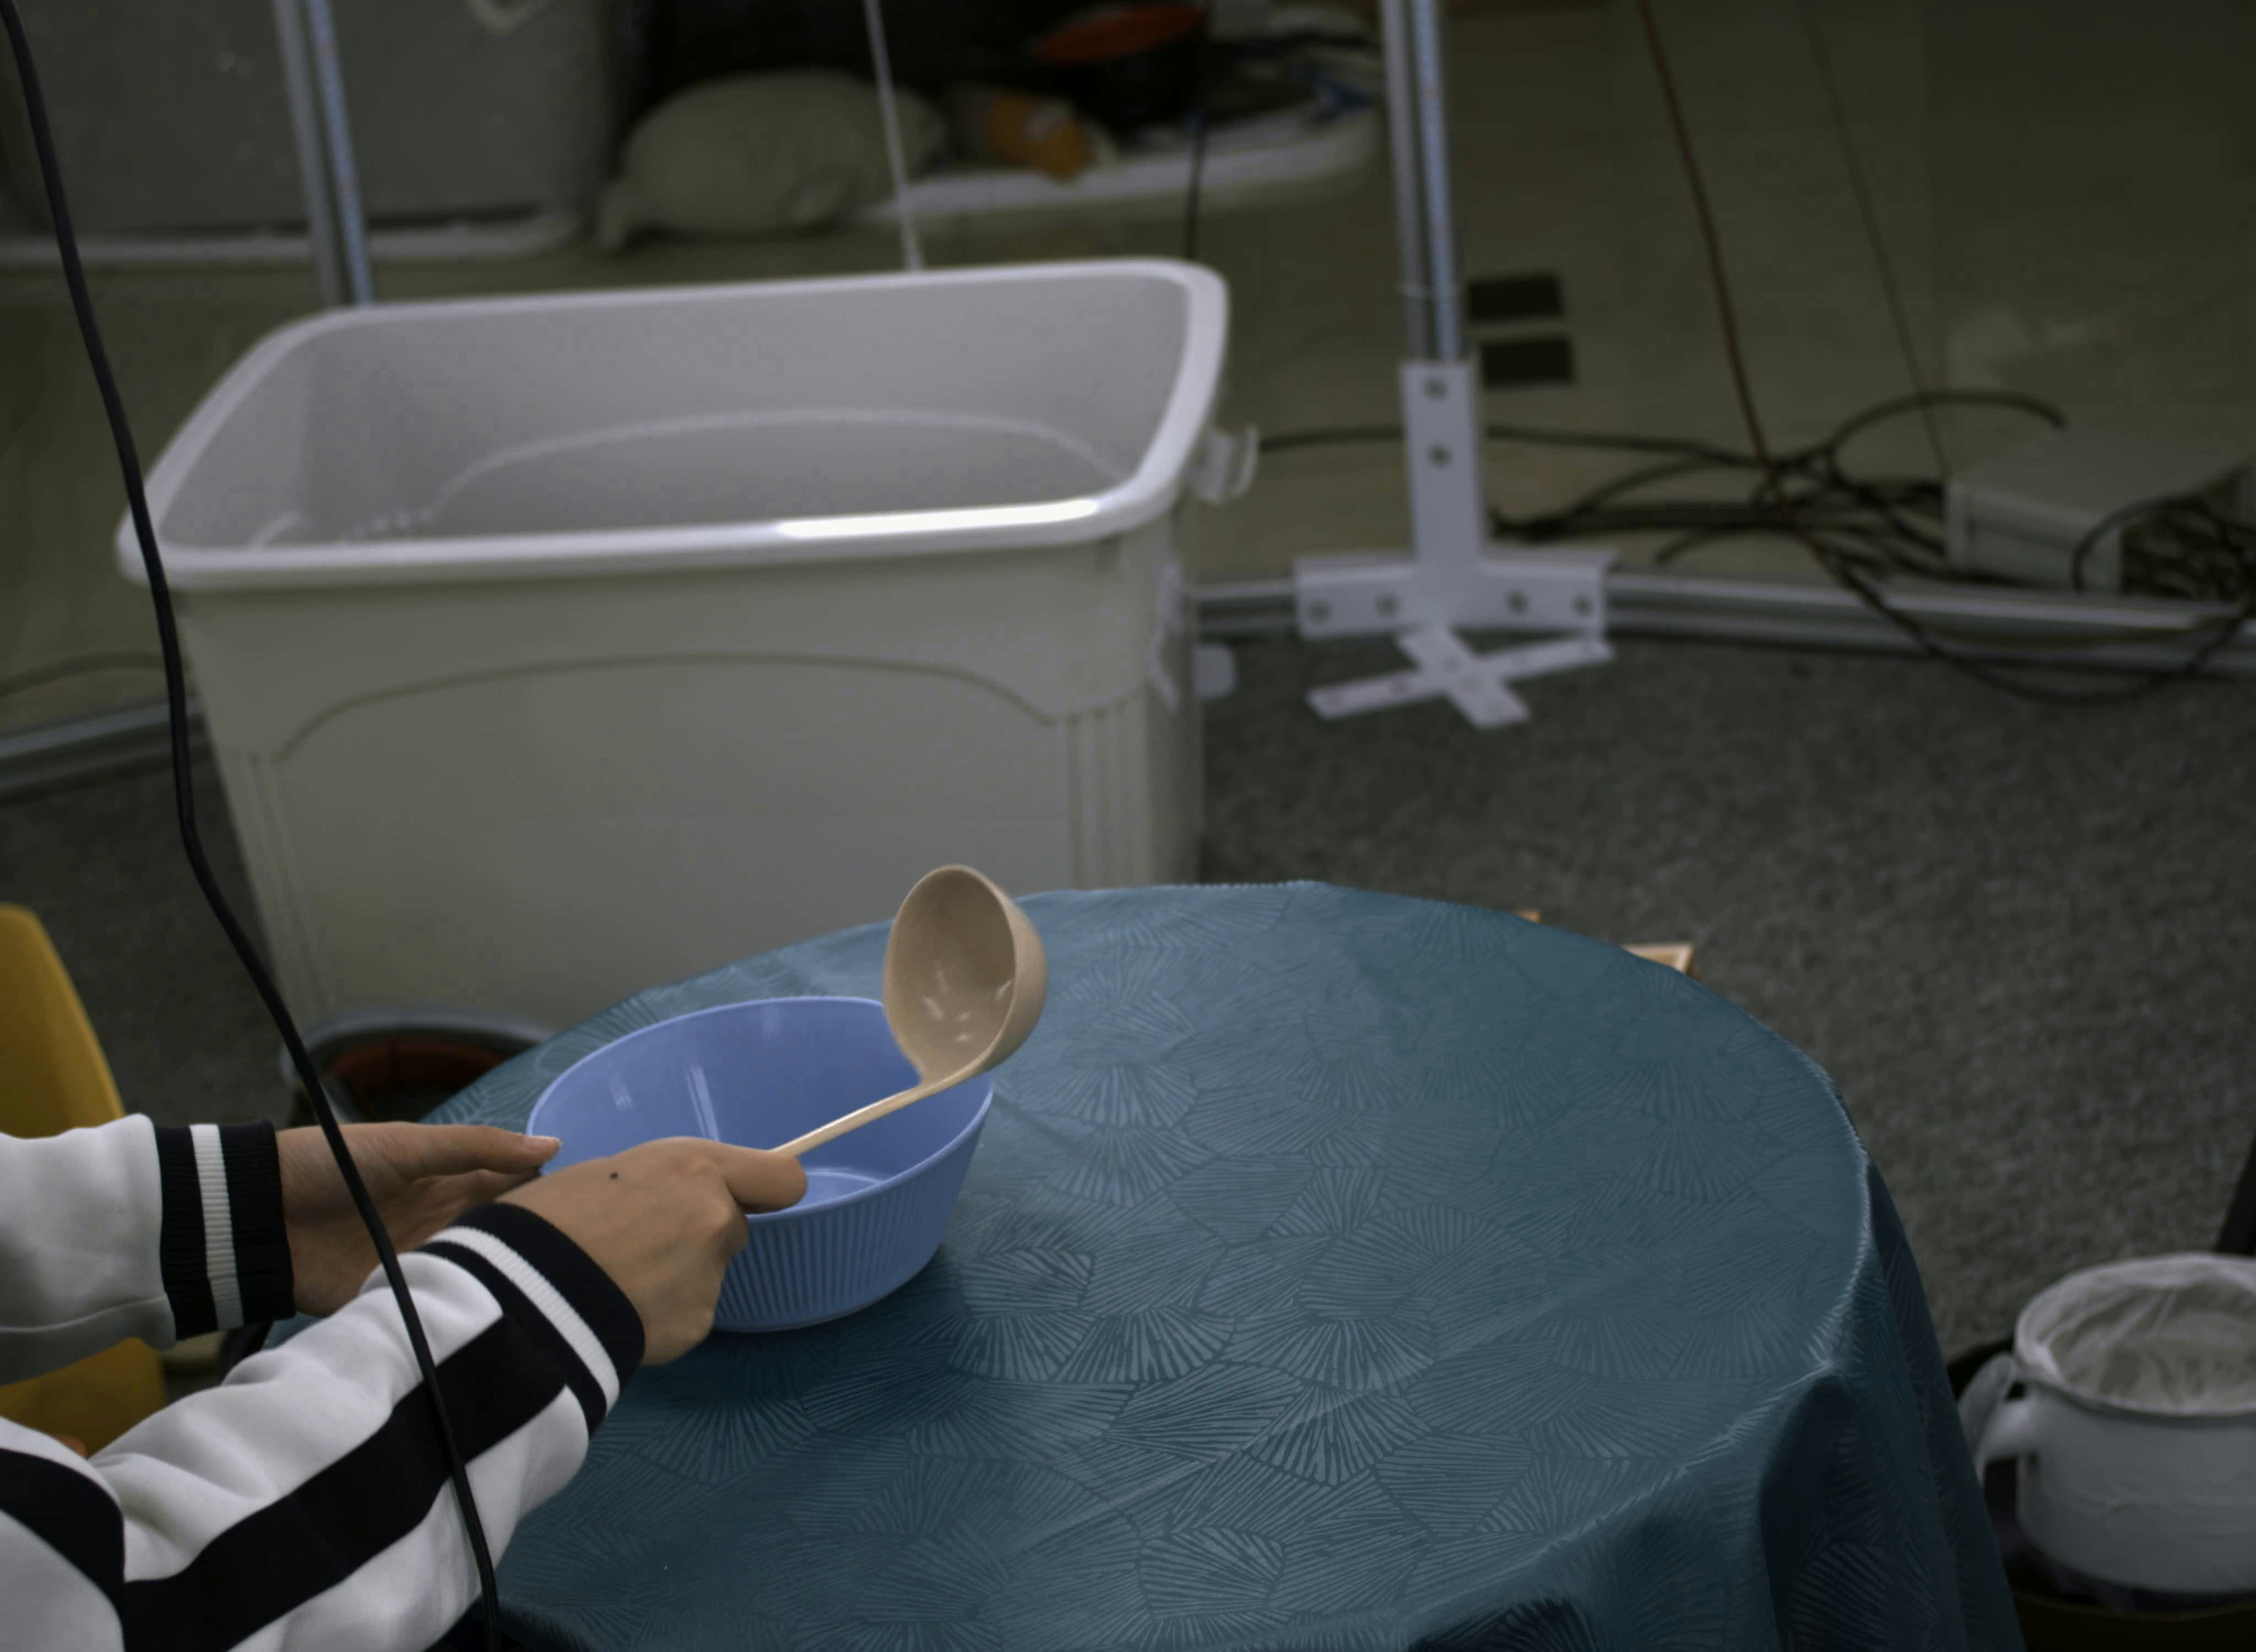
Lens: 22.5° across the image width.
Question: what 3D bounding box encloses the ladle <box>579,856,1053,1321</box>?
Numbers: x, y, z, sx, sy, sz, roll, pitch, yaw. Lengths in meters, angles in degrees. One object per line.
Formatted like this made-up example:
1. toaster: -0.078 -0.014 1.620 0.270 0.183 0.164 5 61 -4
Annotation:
1. ladle: -0.119 0.085 1.941 0.072 0.073 0.252 -22 6 43

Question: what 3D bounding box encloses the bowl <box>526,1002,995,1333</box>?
1. bowl: -0.132 0.133 2.110 0.176 0.071 0.173 -6 24 3
